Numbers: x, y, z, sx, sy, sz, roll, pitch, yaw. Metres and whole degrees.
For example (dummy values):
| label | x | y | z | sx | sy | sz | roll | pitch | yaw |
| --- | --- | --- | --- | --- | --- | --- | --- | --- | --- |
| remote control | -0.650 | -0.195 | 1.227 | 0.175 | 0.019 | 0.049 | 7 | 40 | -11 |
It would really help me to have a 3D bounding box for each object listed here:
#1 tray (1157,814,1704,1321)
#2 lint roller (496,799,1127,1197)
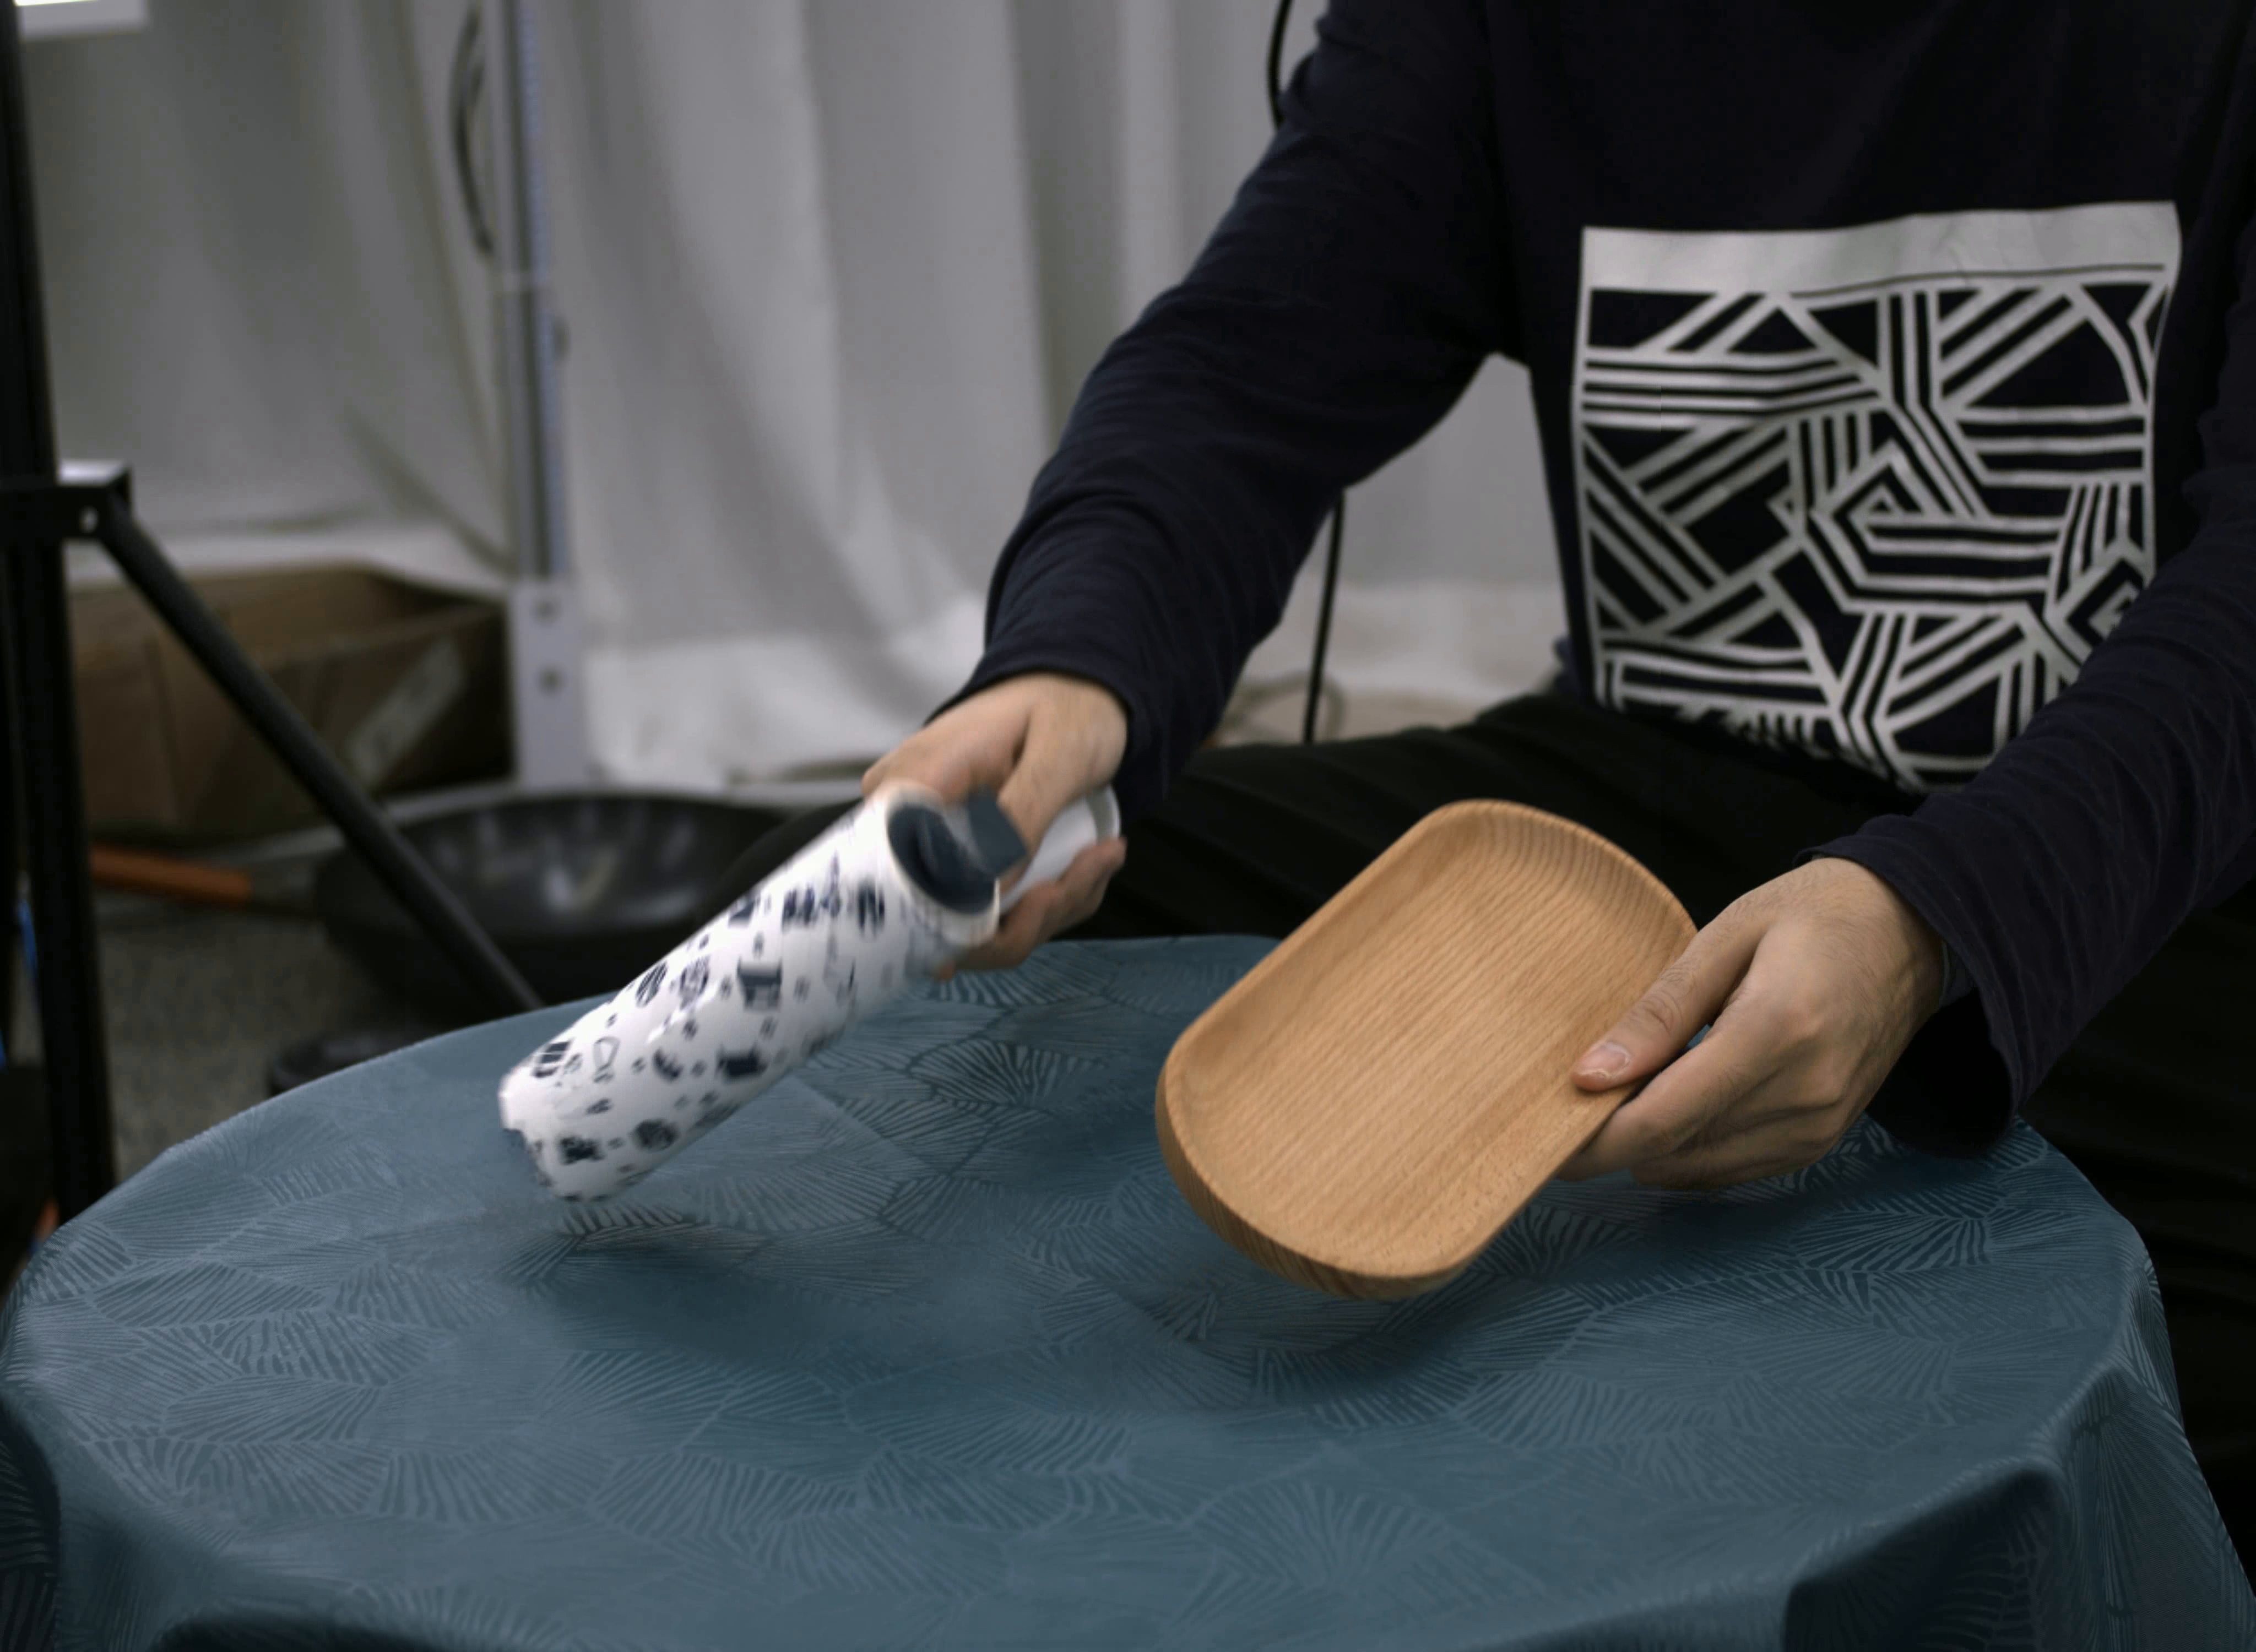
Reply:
| label | x | y | z | sx | sy | sz | roll | pitch | yaw |
| --- | --- | --- | --- | --- | --- | --- | --- | --- | --- |
| tray | 0.087 | 0.065 | 1.481 | 0.102 | 0.020 | 0.228 | 33 | 40 | 13 |
| lint roller | -0.066 | 0.028 | 1.589 | 0.178 | 0.050 | 0.243 | -32 | -2 | 30 |
